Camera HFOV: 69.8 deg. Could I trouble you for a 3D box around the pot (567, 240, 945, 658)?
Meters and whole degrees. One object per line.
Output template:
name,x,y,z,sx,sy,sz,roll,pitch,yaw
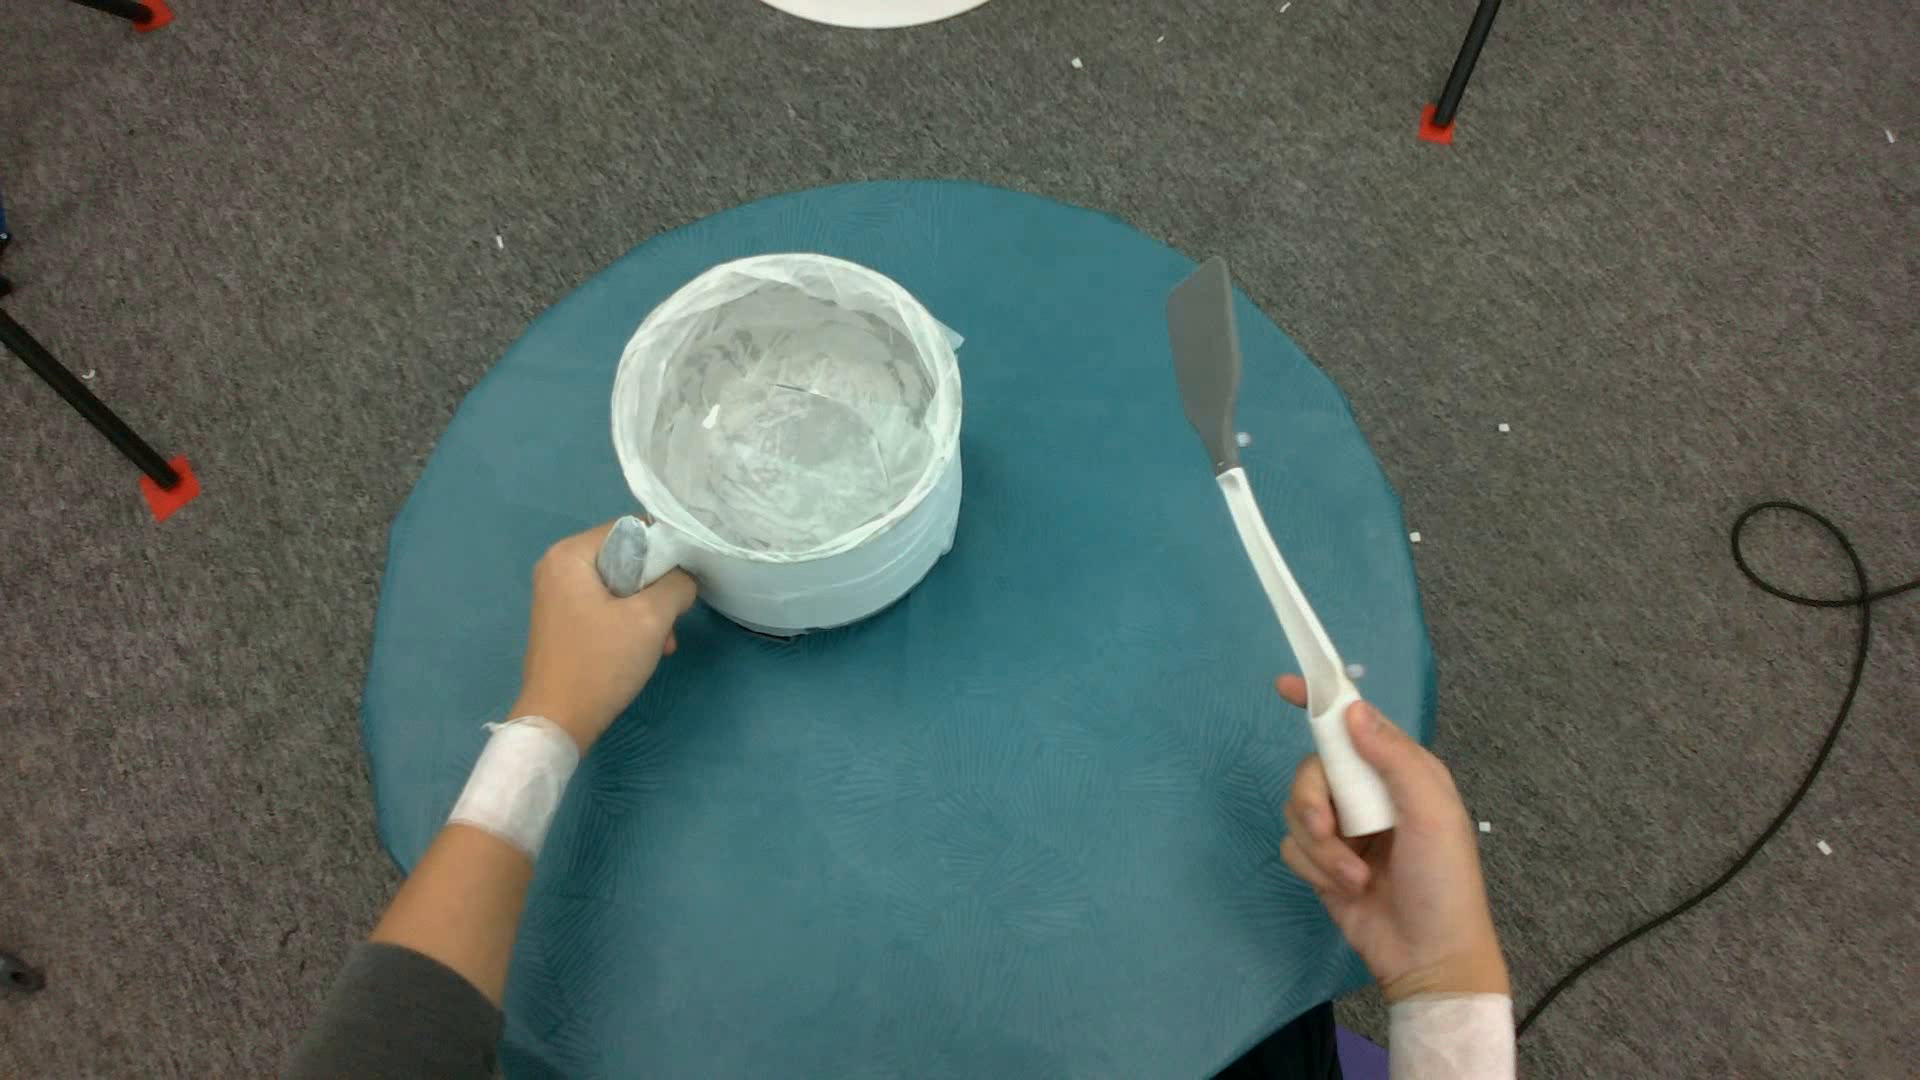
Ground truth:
pot,-0.116,-0.035,0.741,0.179,0.136,0.234,41,72,15

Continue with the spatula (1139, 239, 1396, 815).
spatula,0.144,-0.009,0.669,0.032,0.058,0.288,-13,78,-29
